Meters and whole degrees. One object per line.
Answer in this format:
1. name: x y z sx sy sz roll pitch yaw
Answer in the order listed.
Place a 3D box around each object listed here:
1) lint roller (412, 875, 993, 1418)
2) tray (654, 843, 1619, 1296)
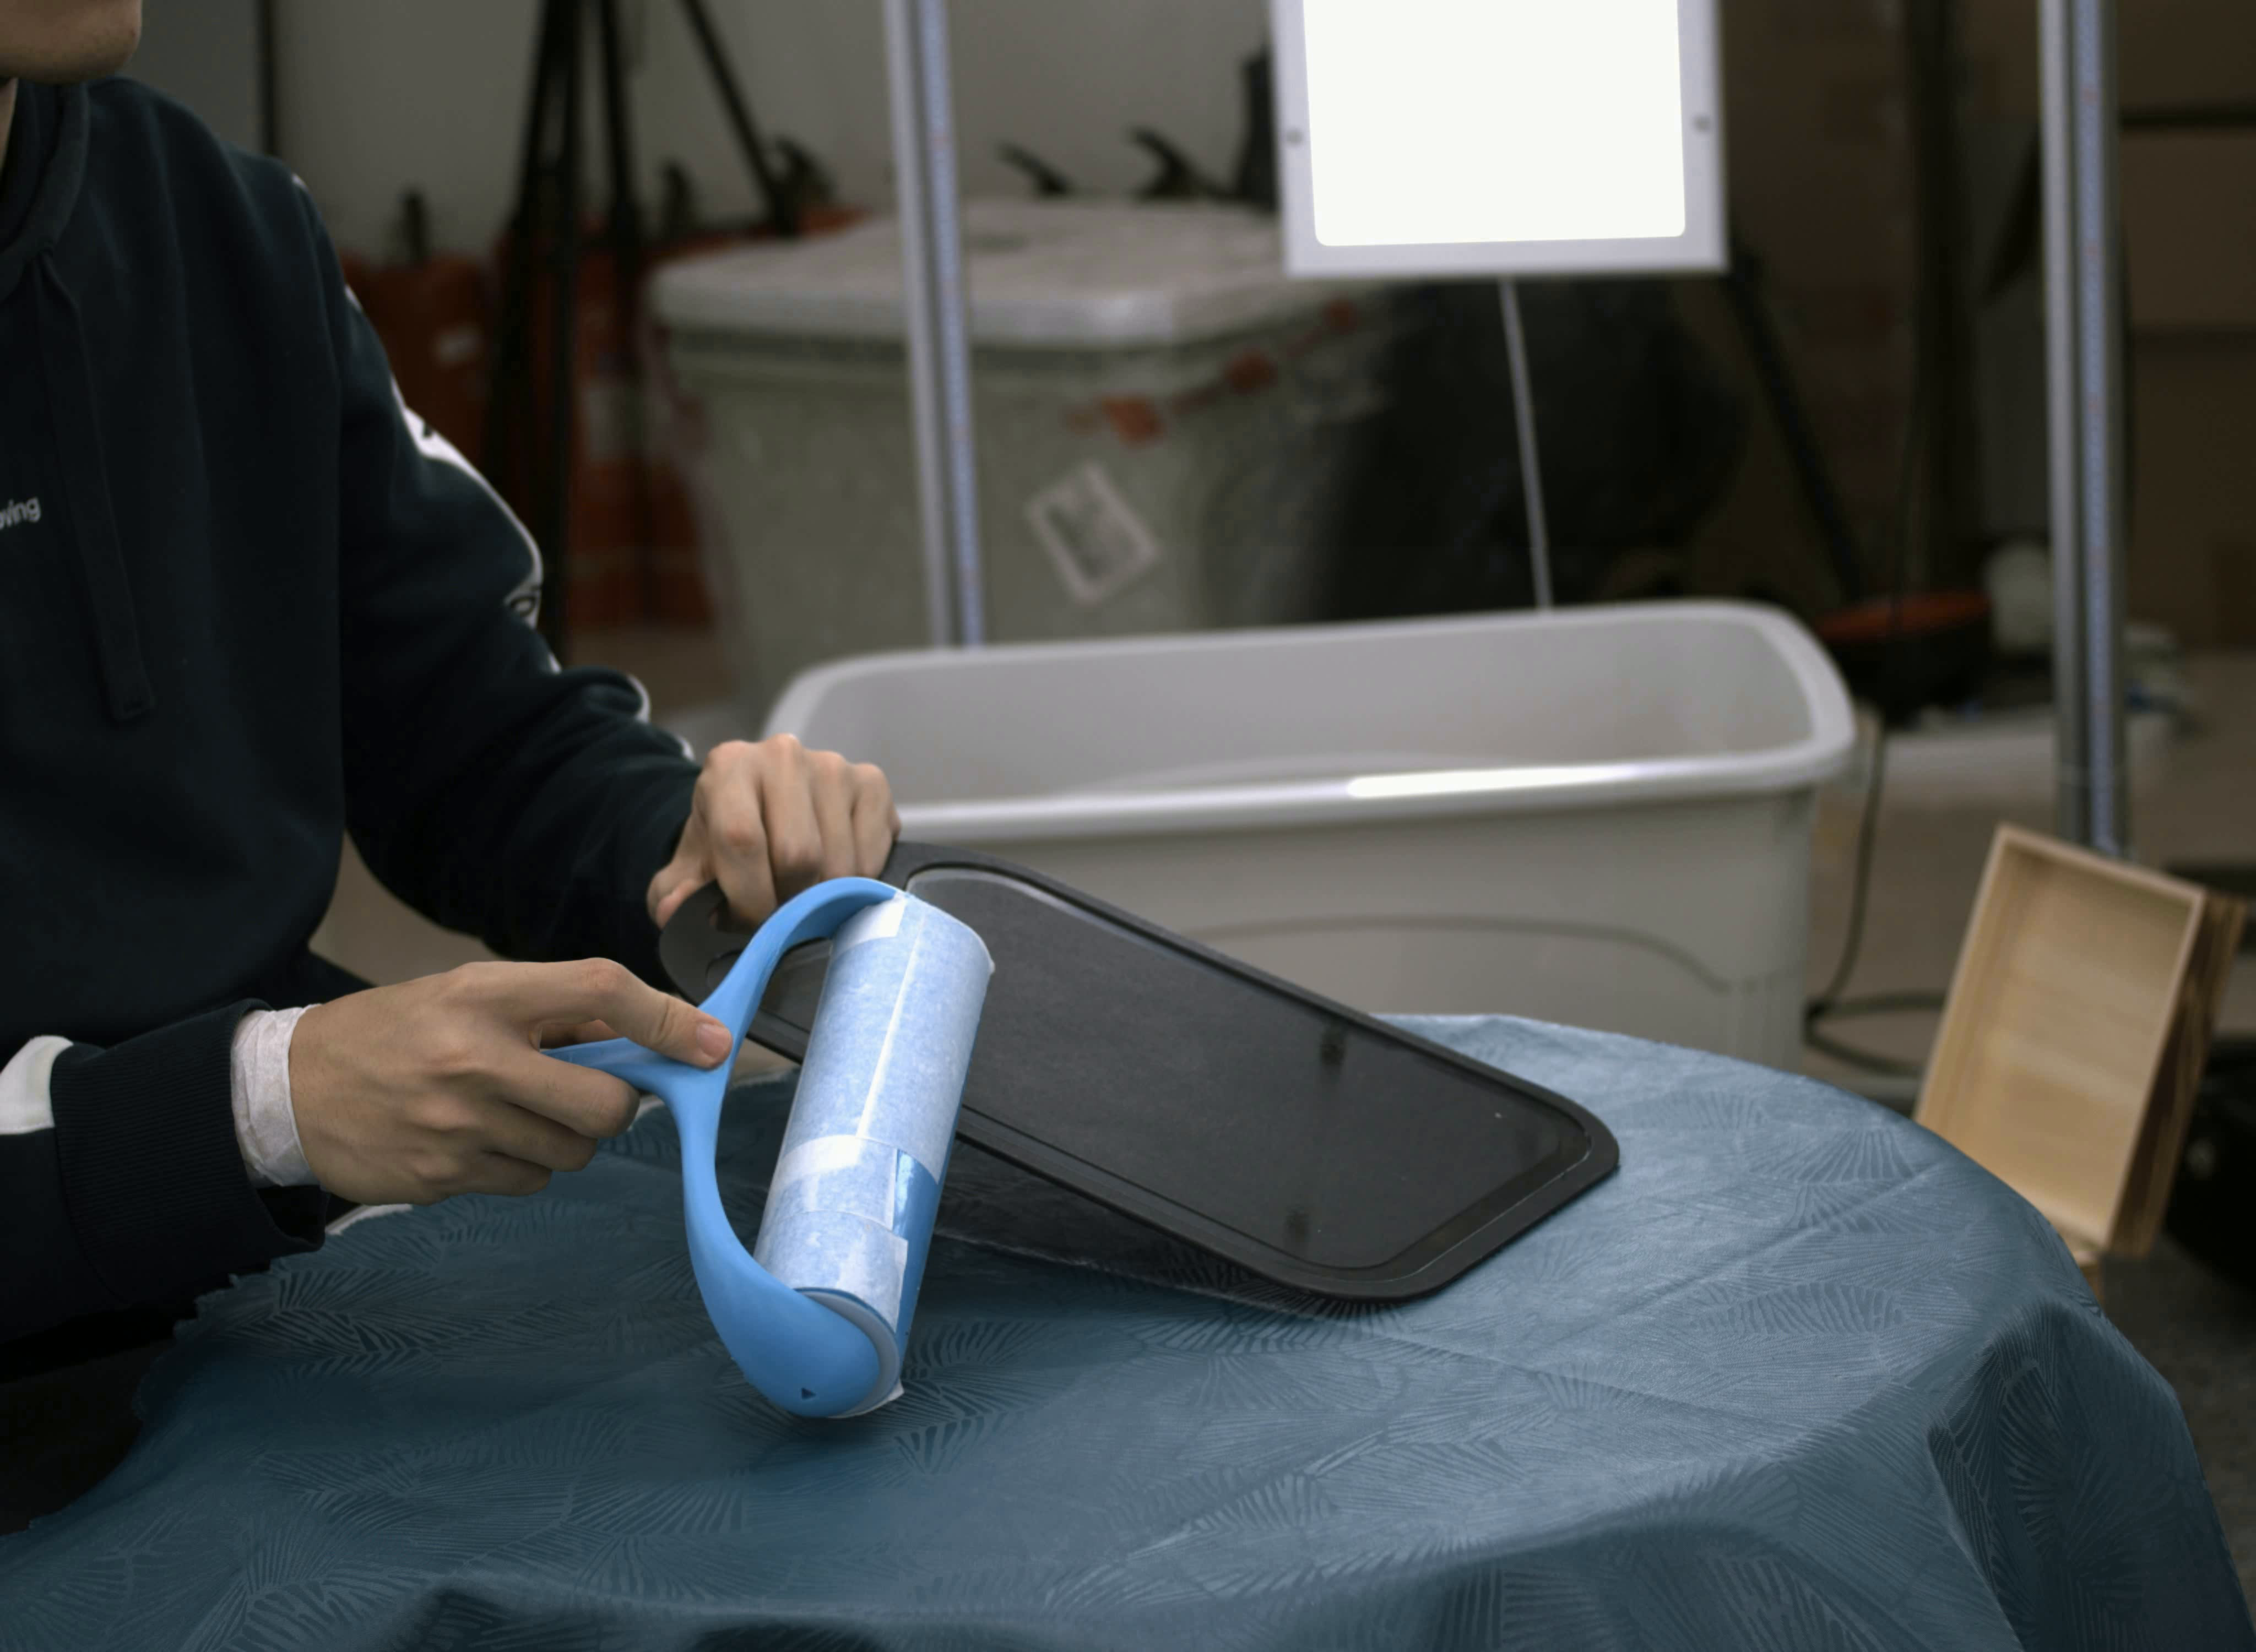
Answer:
1. lint roller: -0.140 0.097 1.758 0.180 0.068 0.227 4 39 3
2. tray: -0.003 0.075 1.884 0.330 0.010 0.206 23 25 26
